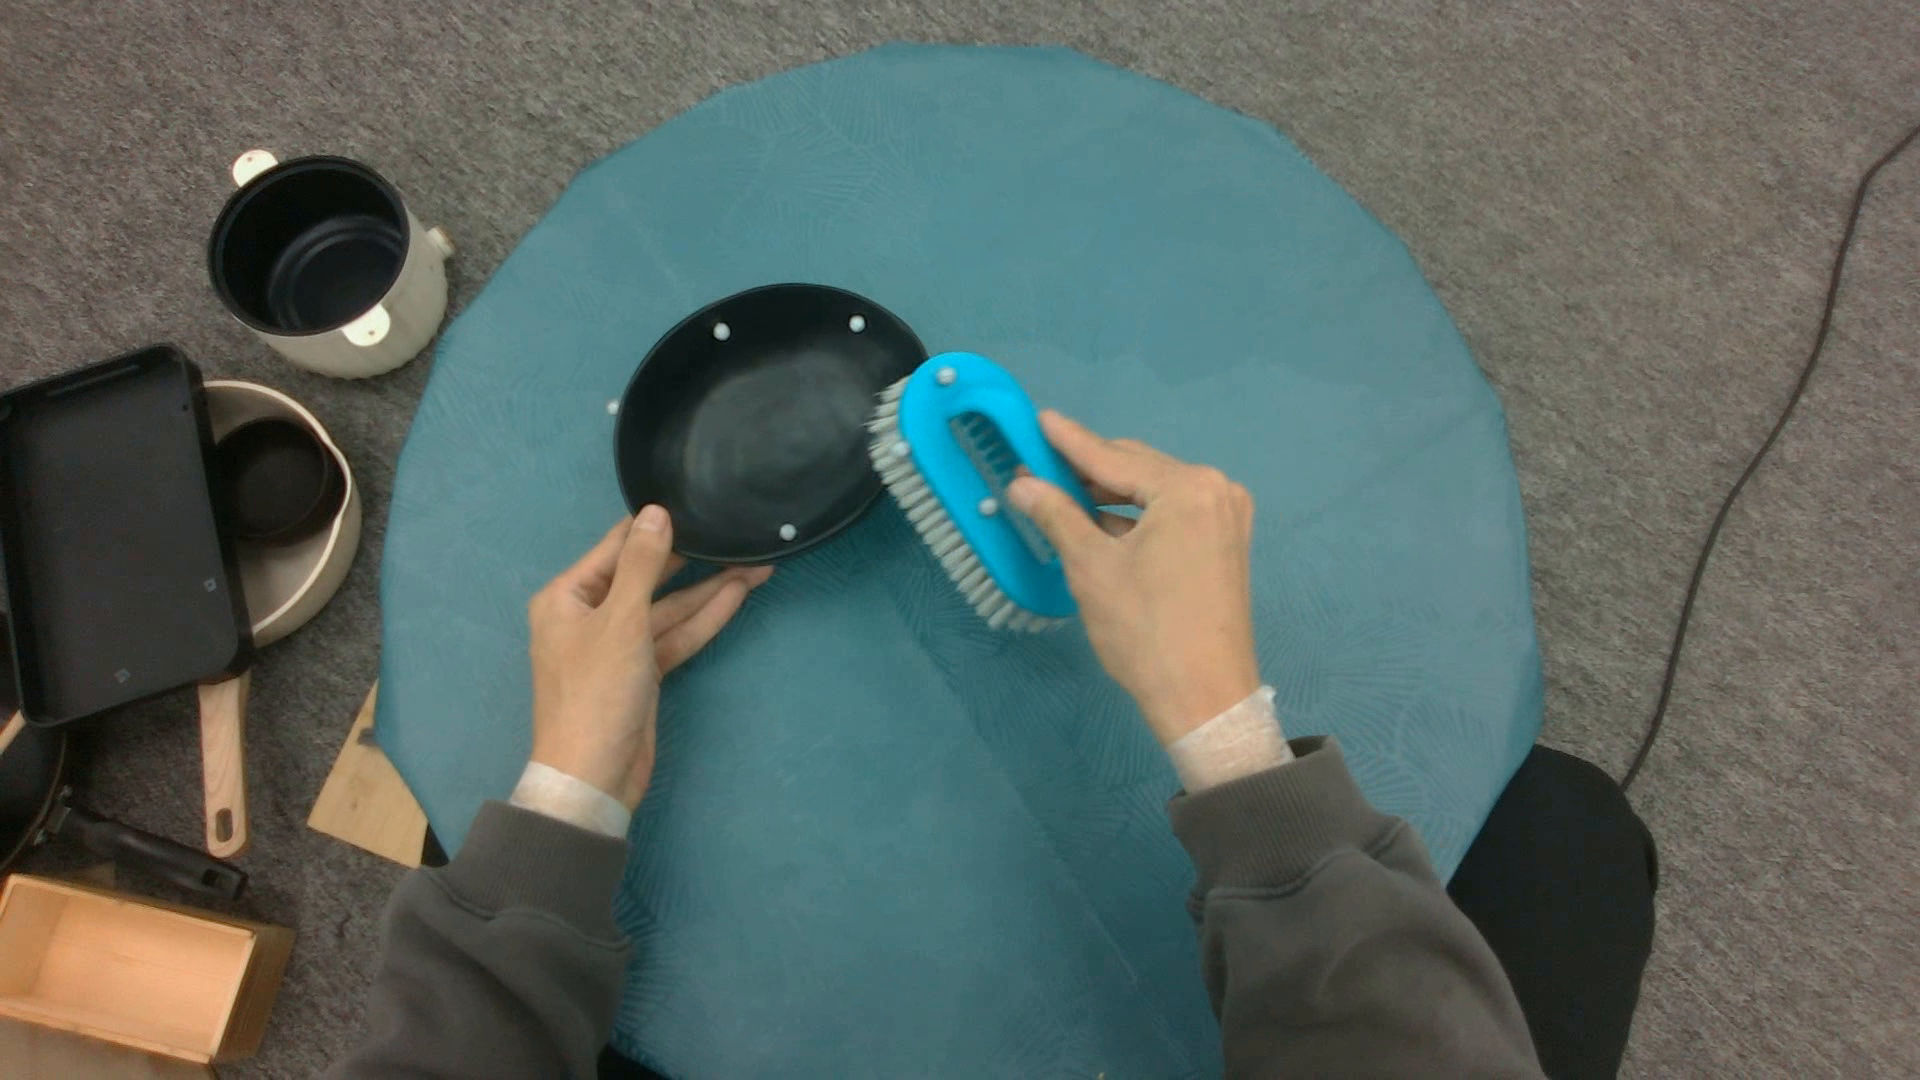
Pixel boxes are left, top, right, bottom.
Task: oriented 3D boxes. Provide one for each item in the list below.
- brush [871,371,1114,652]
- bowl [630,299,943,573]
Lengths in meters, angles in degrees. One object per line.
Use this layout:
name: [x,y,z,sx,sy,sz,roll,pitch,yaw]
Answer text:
brush: [0.025,-0.020,0.640,0.085,0.063,0.142,-34,91,-38]
bowl: [-0.087,-0.050,0.720,0.170,0.066,0.137,-38,77,-12]
